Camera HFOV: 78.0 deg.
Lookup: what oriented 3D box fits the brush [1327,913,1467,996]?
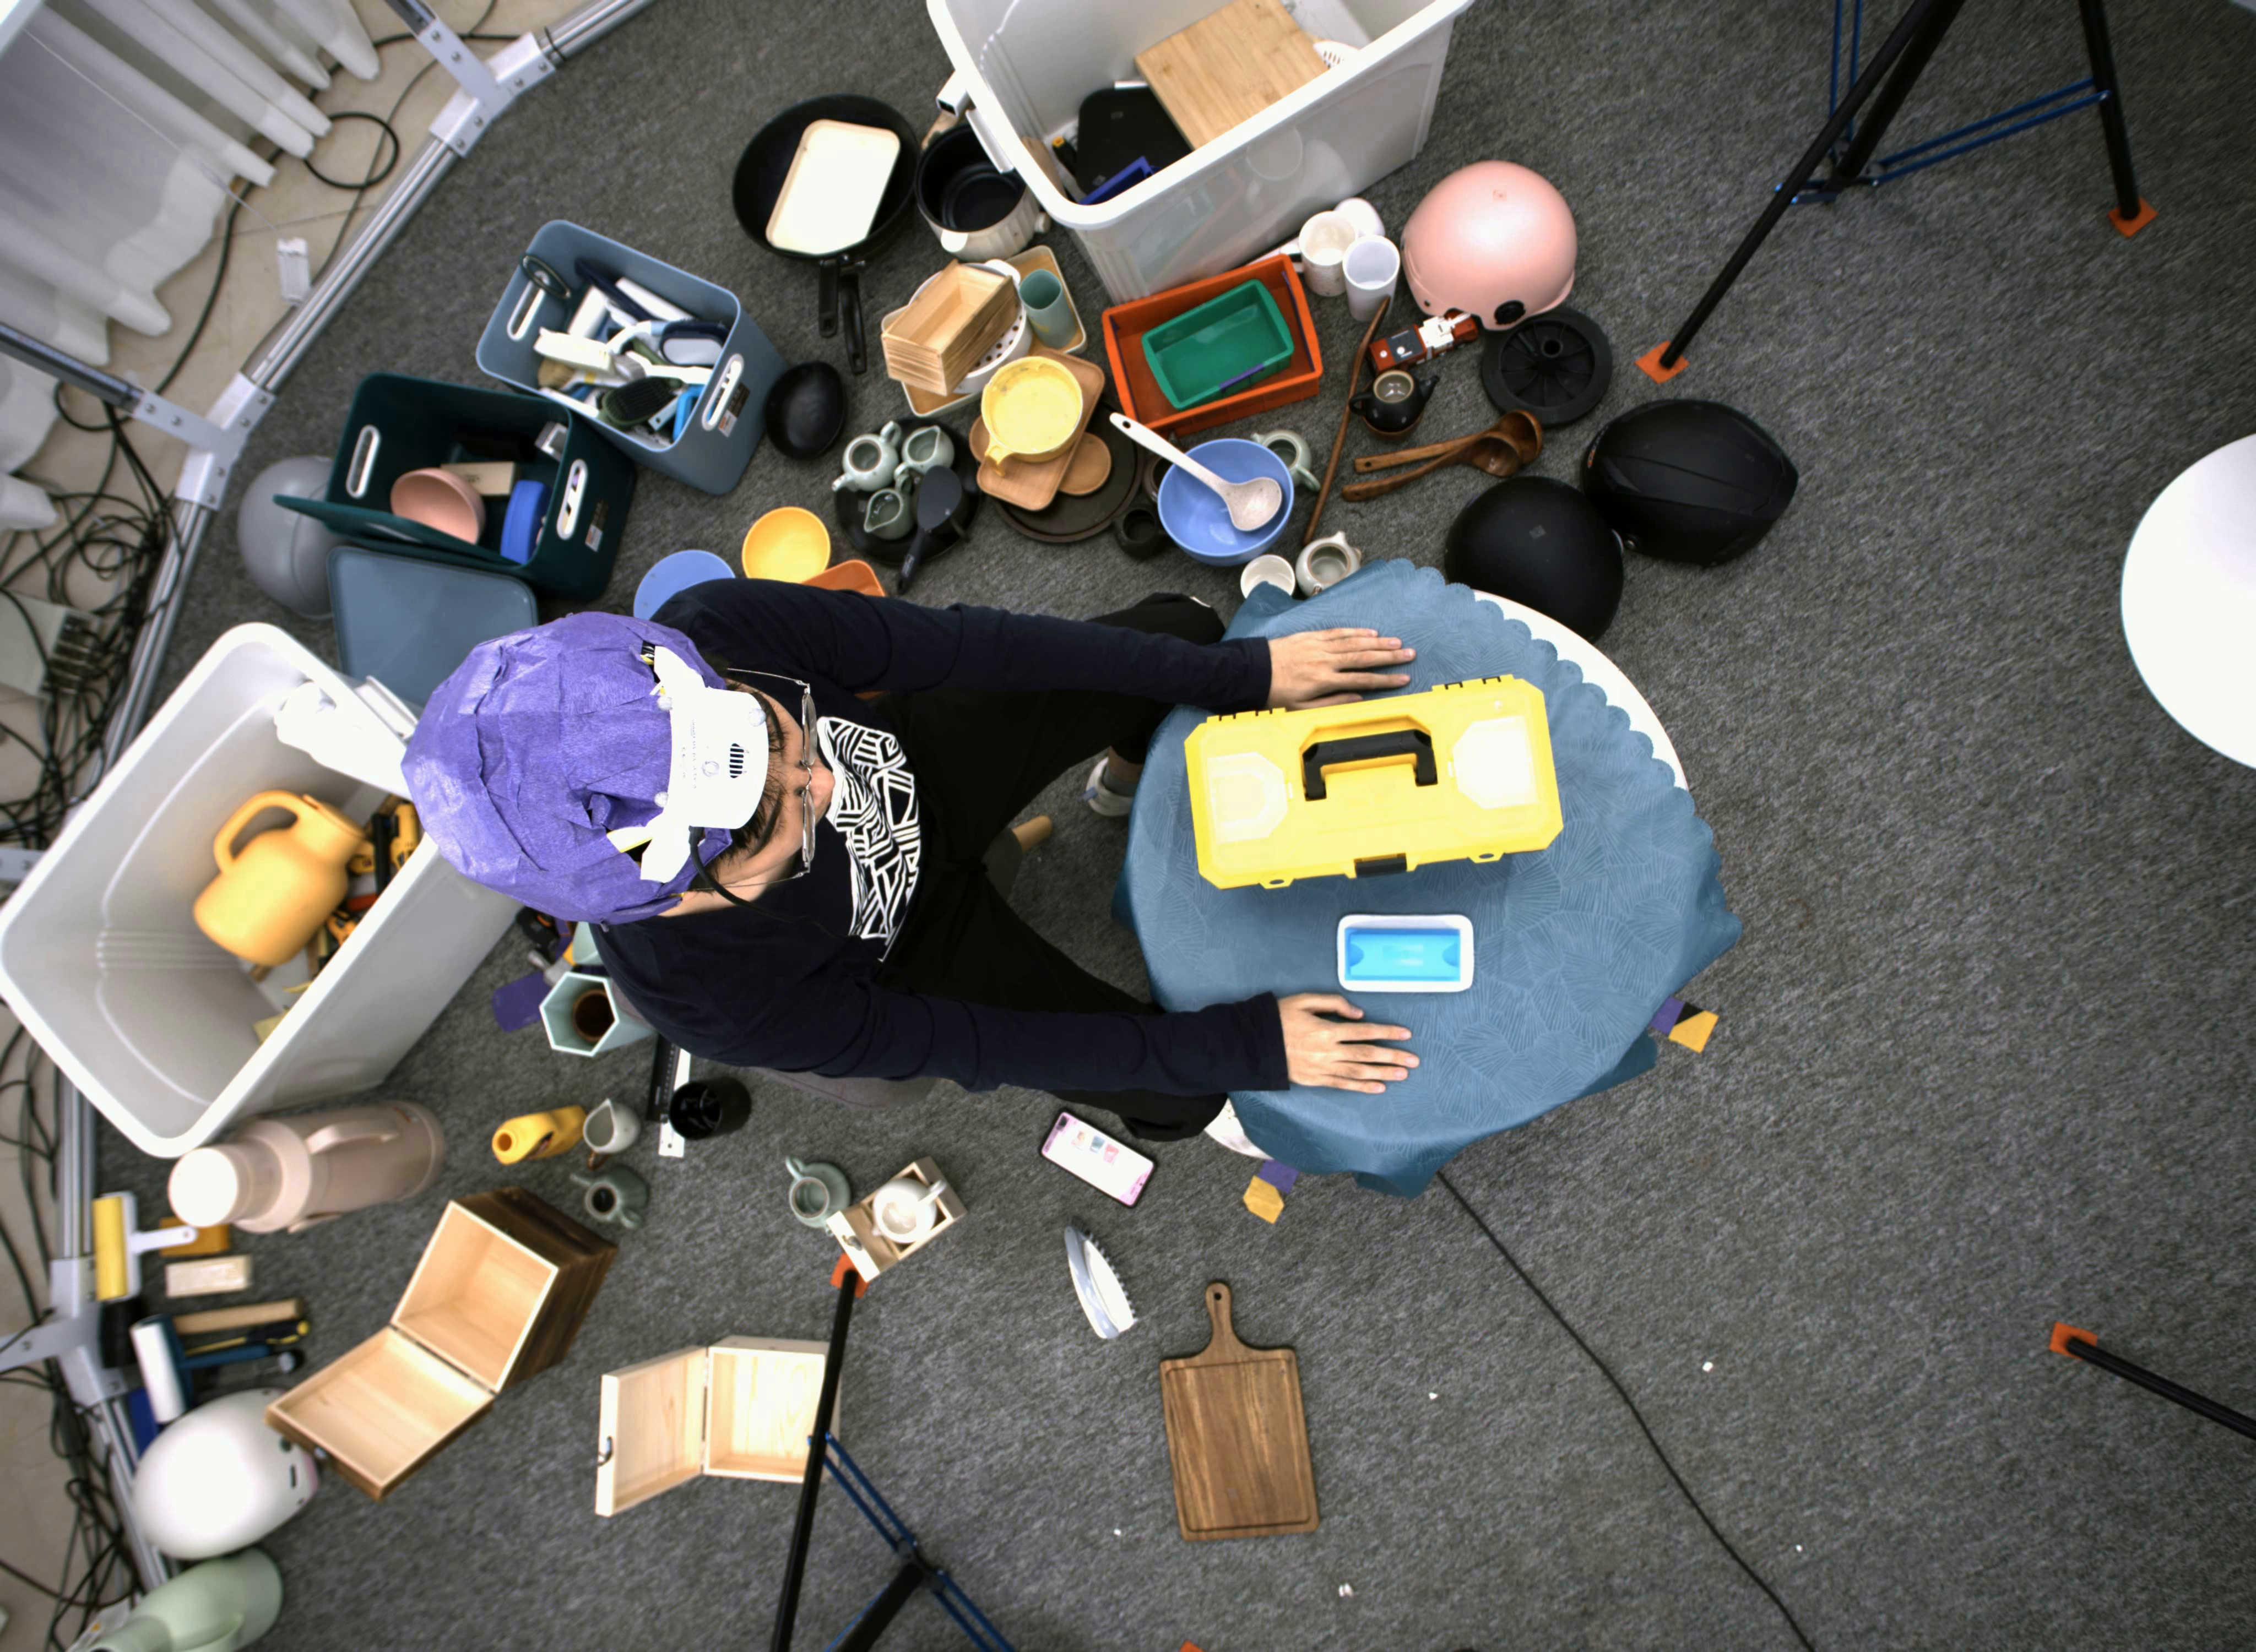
[{"bbox_3d":[0.278,0.130,1.424,0.144,0.056,0.083,2,84,9],"label":"brush"}]

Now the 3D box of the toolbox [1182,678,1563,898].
[{"bbox_3d":[0.242,-0.034,1.381,0.353,0.173,0.180,-8,84,10],"label":"toolbox"}]
